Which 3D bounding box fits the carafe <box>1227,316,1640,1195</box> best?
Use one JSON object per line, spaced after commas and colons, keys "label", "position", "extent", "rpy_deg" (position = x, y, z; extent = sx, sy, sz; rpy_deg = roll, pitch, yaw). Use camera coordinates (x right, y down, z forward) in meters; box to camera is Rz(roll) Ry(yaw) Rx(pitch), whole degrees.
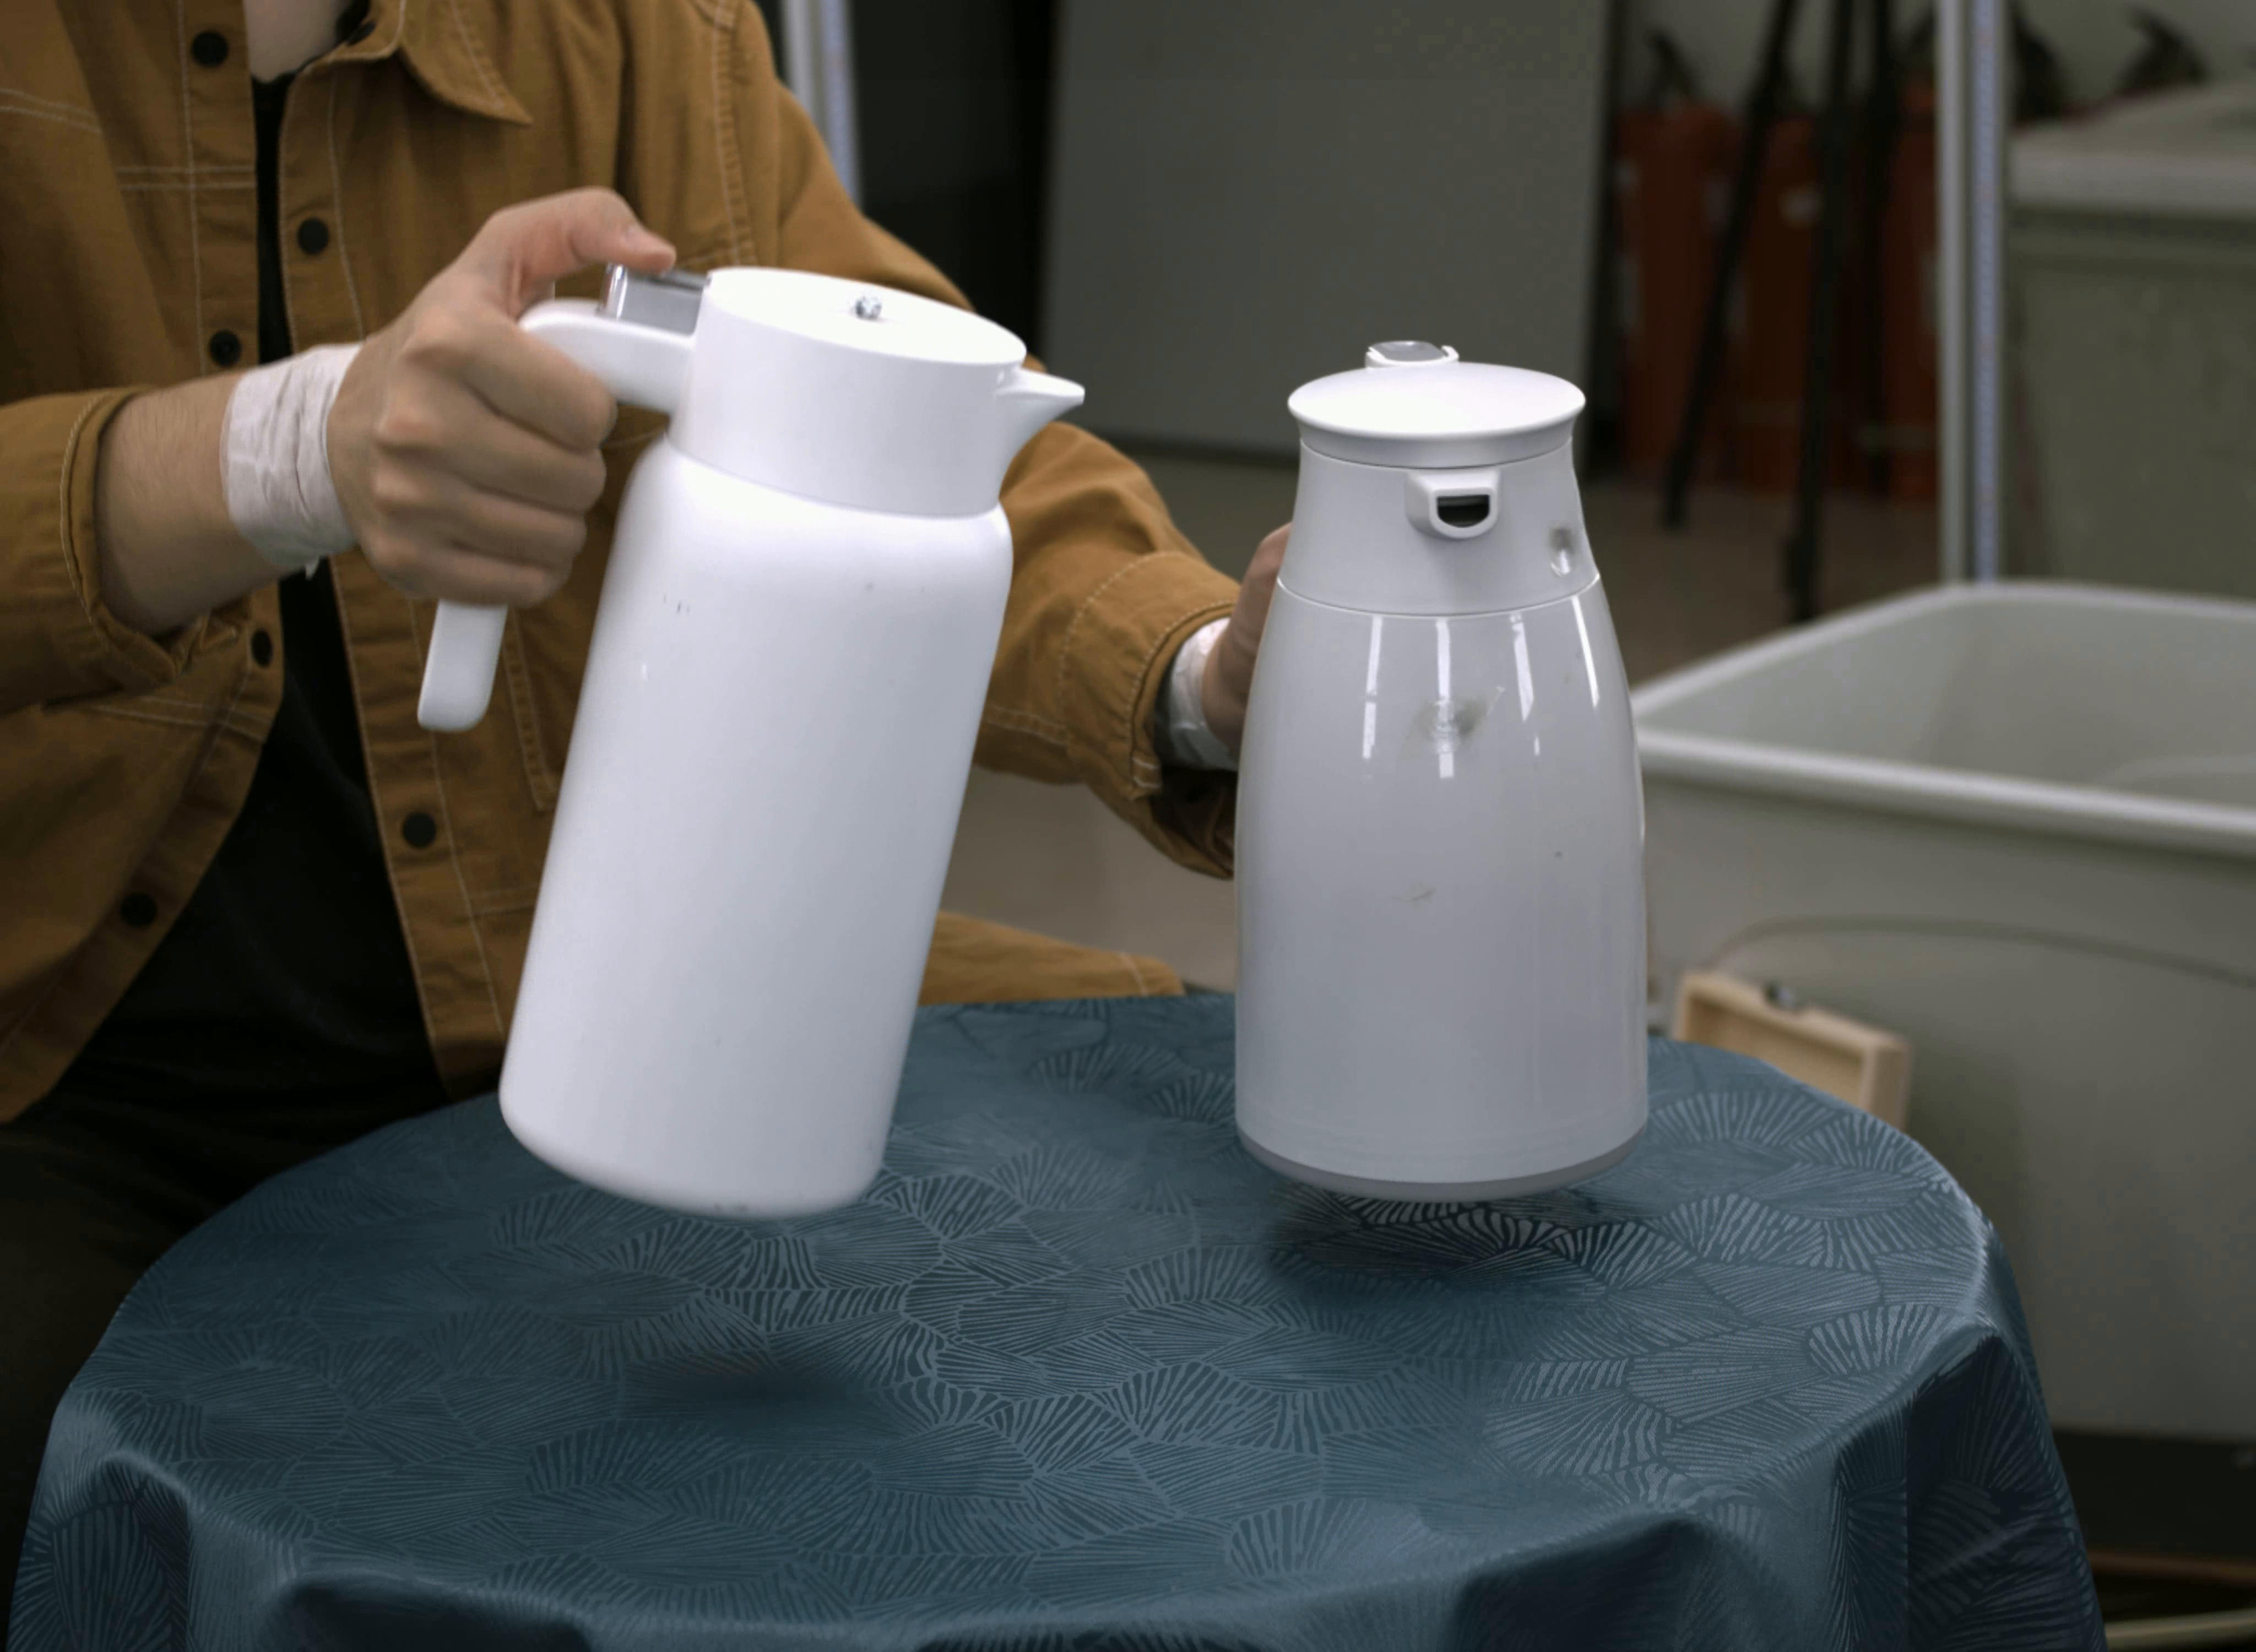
{"label": "carafe", "position": [0.091, -0.030, 1.694], "extent": [0.130, 0.251, 0.168], "rpy_deg": [-3, 16, -4]}

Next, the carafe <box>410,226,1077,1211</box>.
{"label": "carafe", "position": [-0.123, -0.033, 1.582], "extent": [0.170, 0.272, 0.124], "rpy_deg": [11, 16, -6]}
